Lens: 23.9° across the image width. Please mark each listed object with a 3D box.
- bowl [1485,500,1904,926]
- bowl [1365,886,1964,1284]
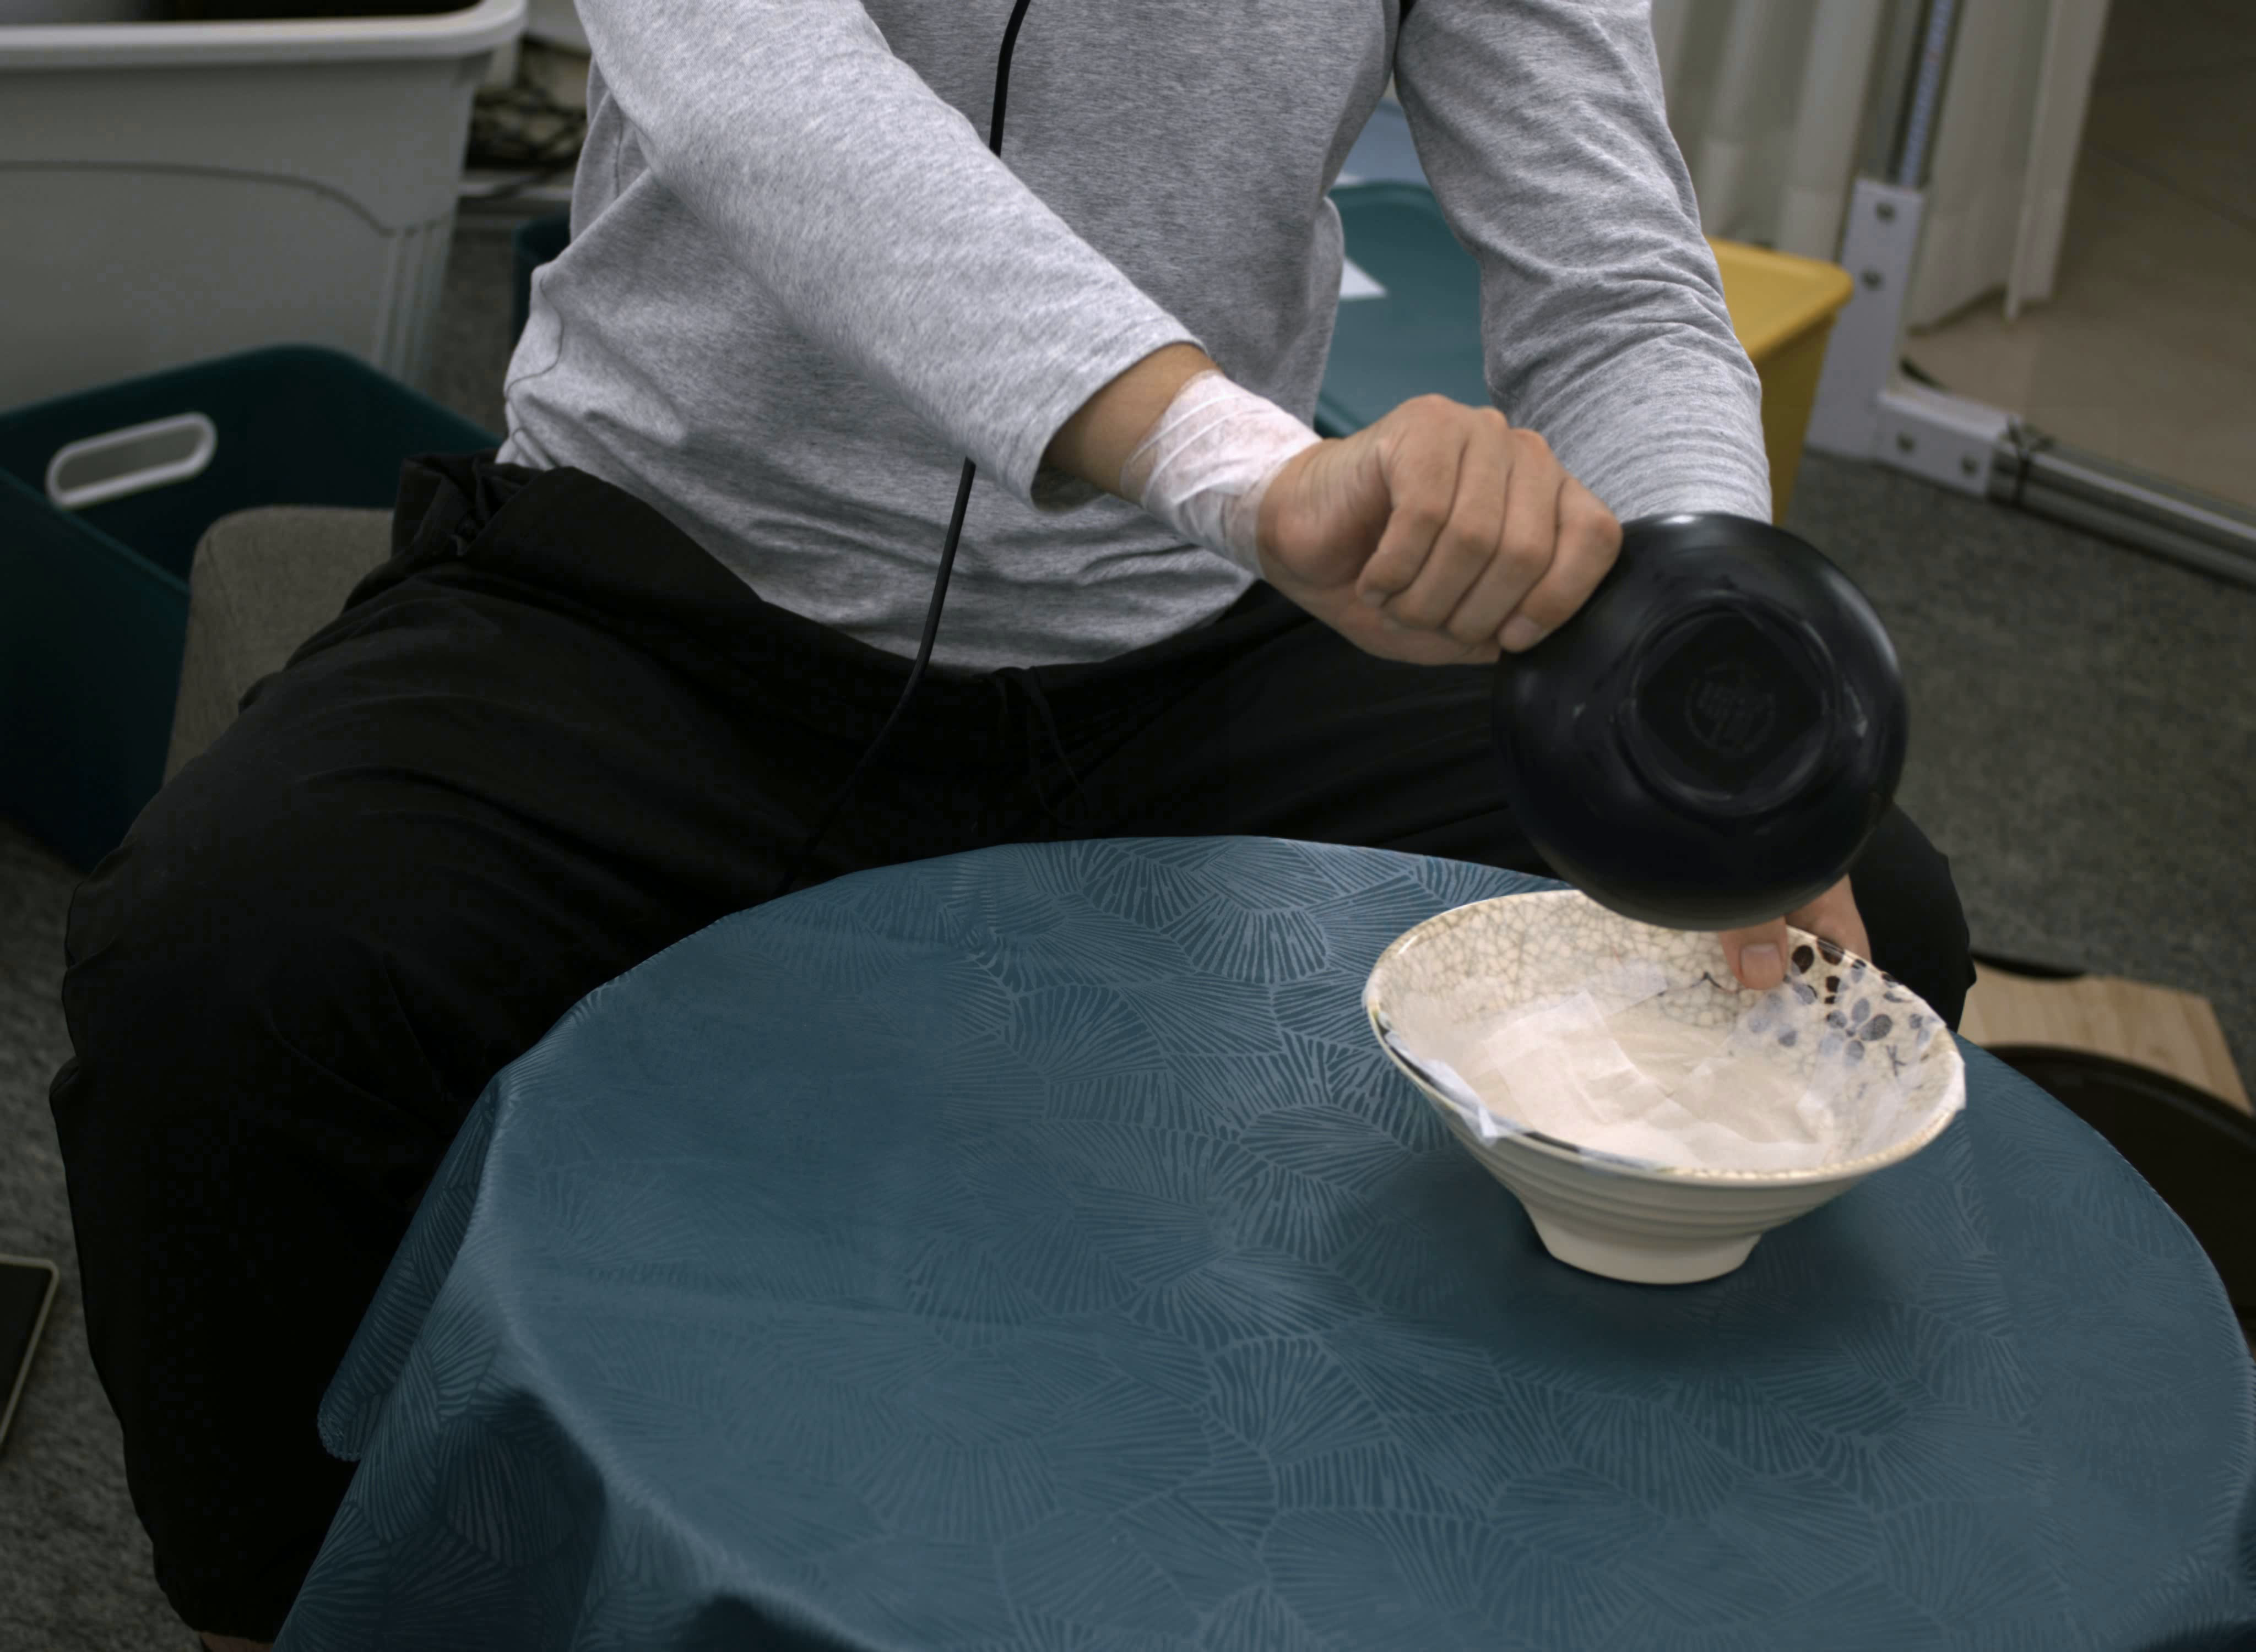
[{"bbox_3d":[0.187,-0.039,1.702,0.139,0.140,0.050,2,-8,-10],"label":"bowl"},{"bbox_3d":[0.176,0.100,1.803,0.203,0.078,0.205,6,25,-3],"label":"bowl"}]
